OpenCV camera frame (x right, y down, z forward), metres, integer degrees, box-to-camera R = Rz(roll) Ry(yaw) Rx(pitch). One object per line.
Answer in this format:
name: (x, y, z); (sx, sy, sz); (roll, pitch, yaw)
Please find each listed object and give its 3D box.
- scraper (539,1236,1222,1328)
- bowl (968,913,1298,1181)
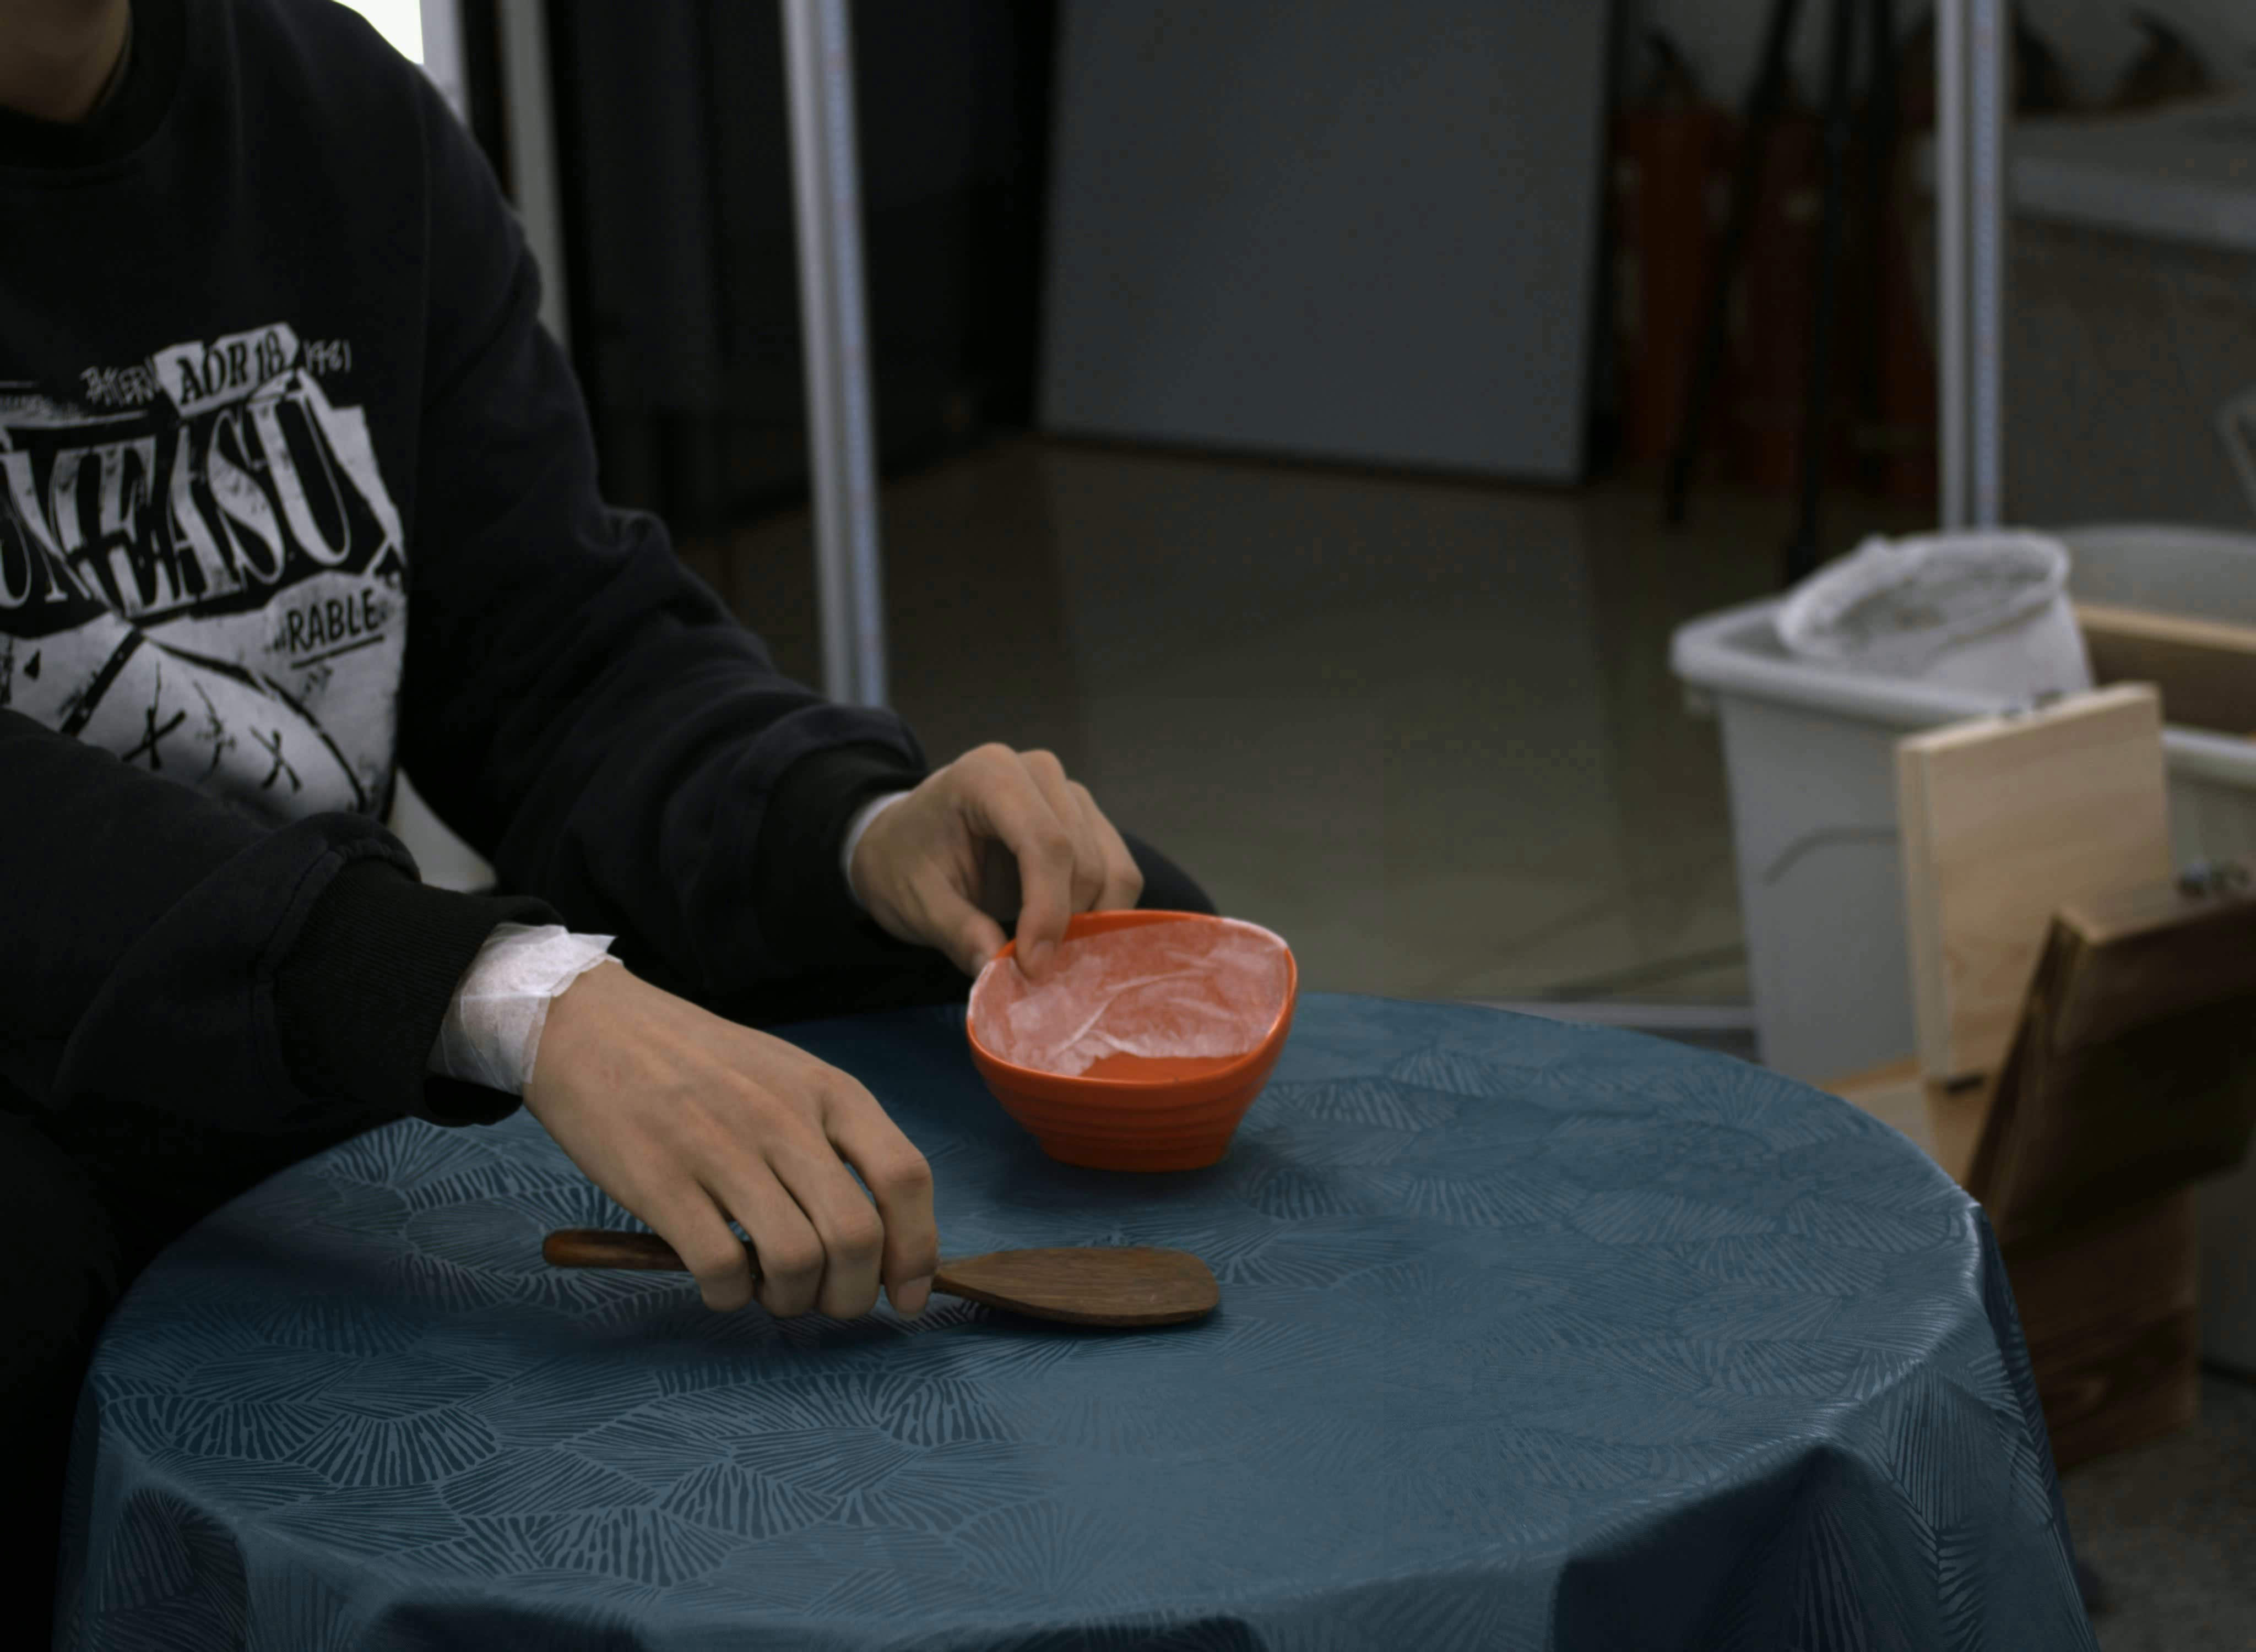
scraper: (-0.076, 0.137, 1.658); (0.208, 0.011, 0.076); (4, 10, -6)
bowl: (0.004, 0.079, 1.807); (0.117, 0.052, 0.119); (-5, 30, 2)
